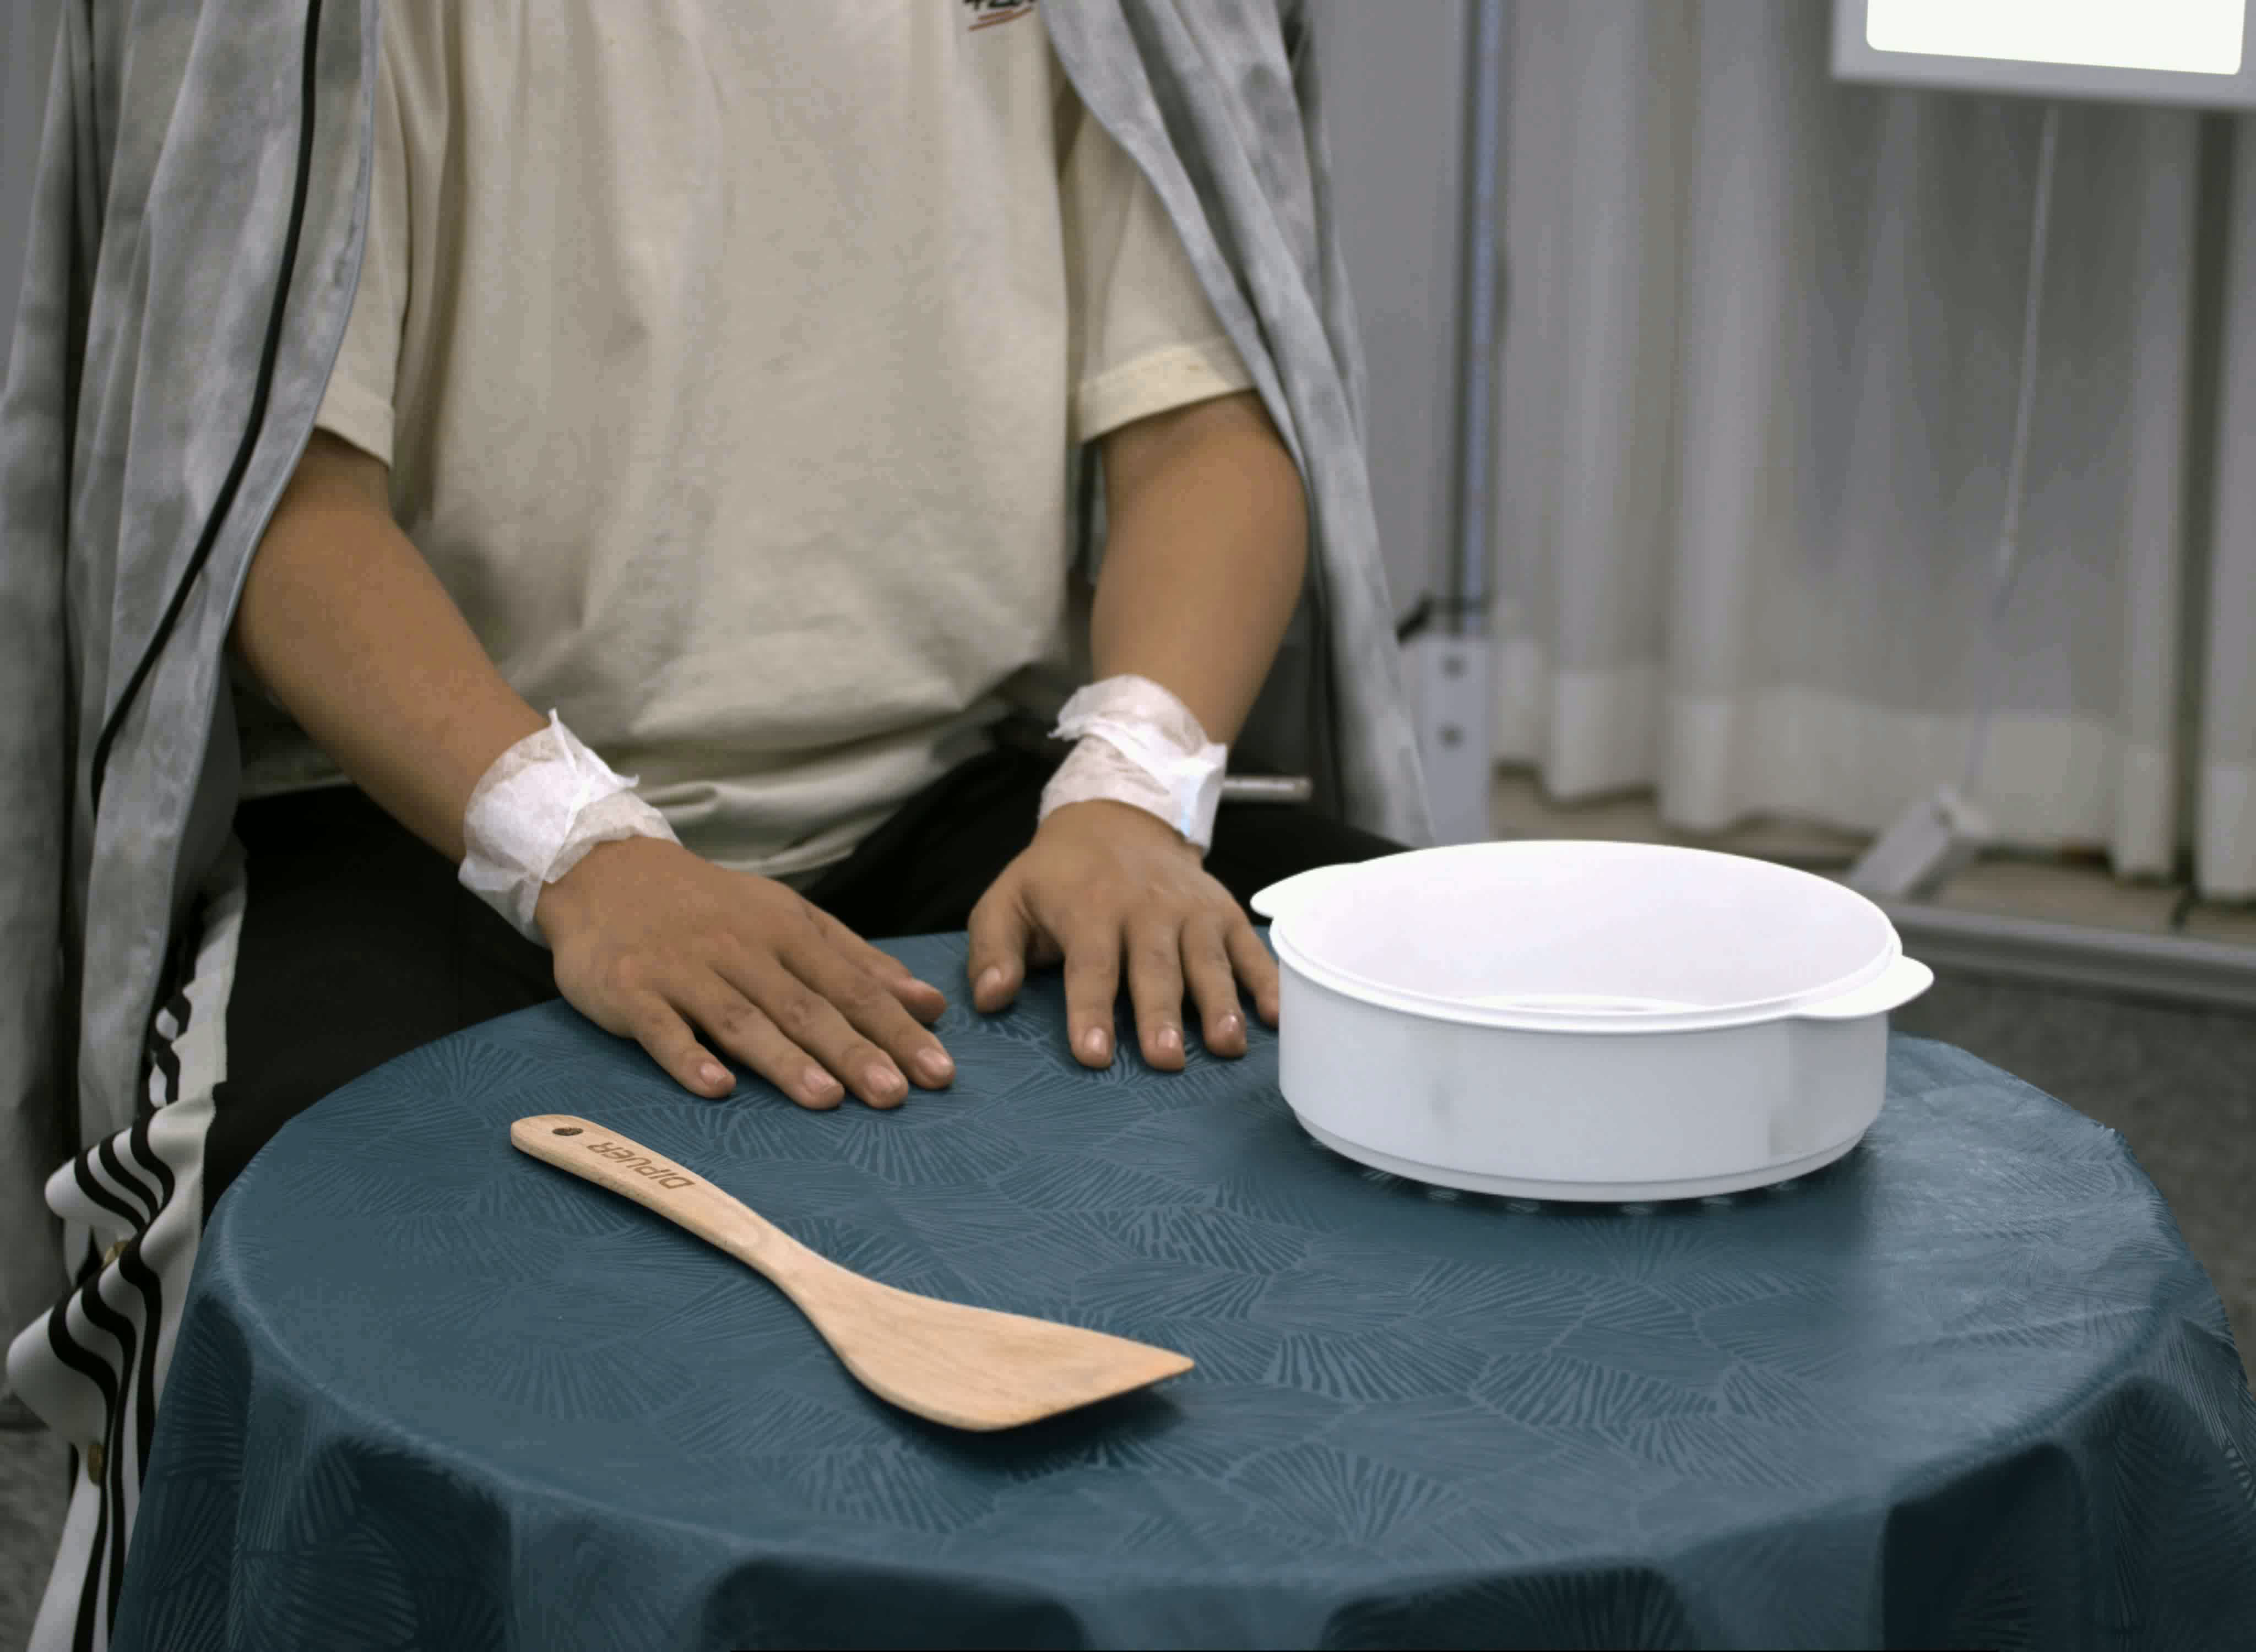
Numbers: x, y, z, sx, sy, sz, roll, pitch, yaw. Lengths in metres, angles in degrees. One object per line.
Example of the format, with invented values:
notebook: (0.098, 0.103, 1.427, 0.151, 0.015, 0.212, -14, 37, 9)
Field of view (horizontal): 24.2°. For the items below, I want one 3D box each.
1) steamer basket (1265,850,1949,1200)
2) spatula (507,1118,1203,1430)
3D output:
steamer basket: (0.149, 0.063, 1.683, 0.228, 0.070, 0.203, 10, 17, 33)
spatula: (-0.095, 0.126, 1.540, 0.080, 0.016, 0.323, -9, 18, -35)
